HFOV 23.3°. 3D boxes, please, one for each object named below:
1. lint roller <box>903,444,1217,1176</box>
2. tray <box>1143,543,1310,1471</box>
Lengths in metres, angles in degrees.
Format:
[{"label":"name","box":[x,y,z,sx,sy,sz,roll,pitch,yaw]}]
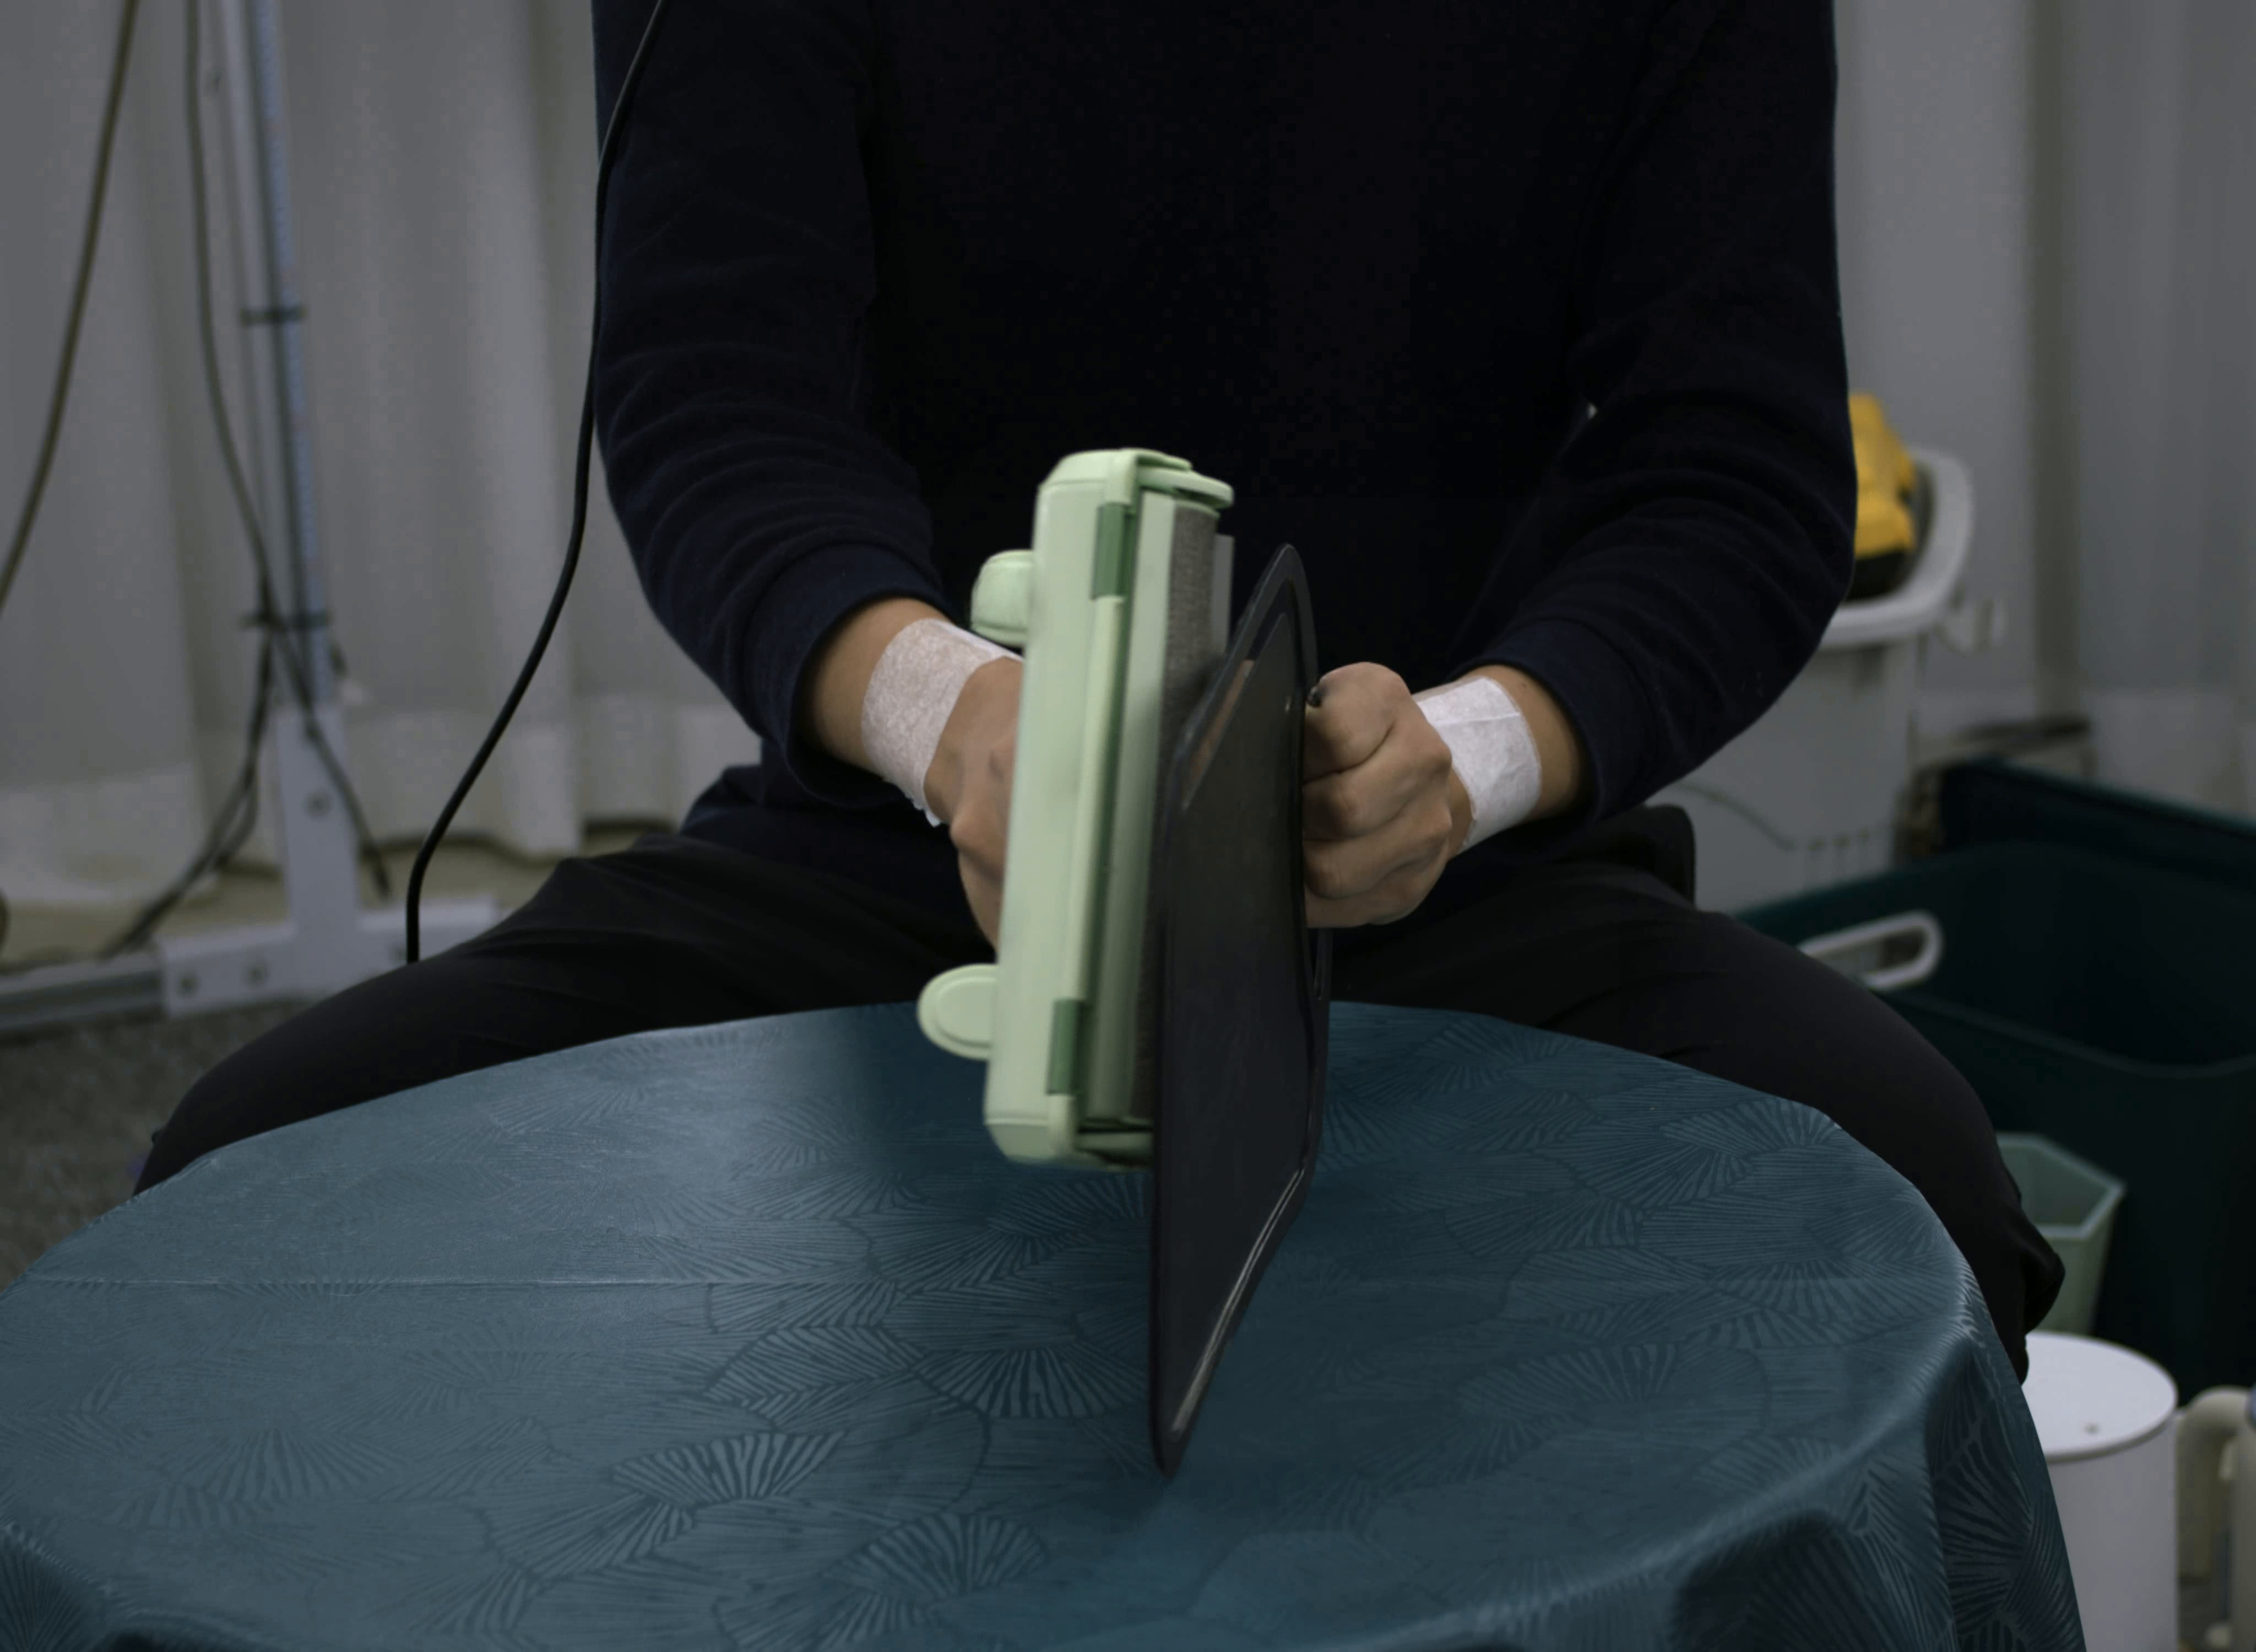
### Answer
[{"label":"lint roller","box":[-0.025,0.000,1.553,0.082,0.200,0.183,7,-7,-9]},{"label":"tray","box":[0.032,0.041,1.575,0.010,0.210,0.327,3,15,8]}]
